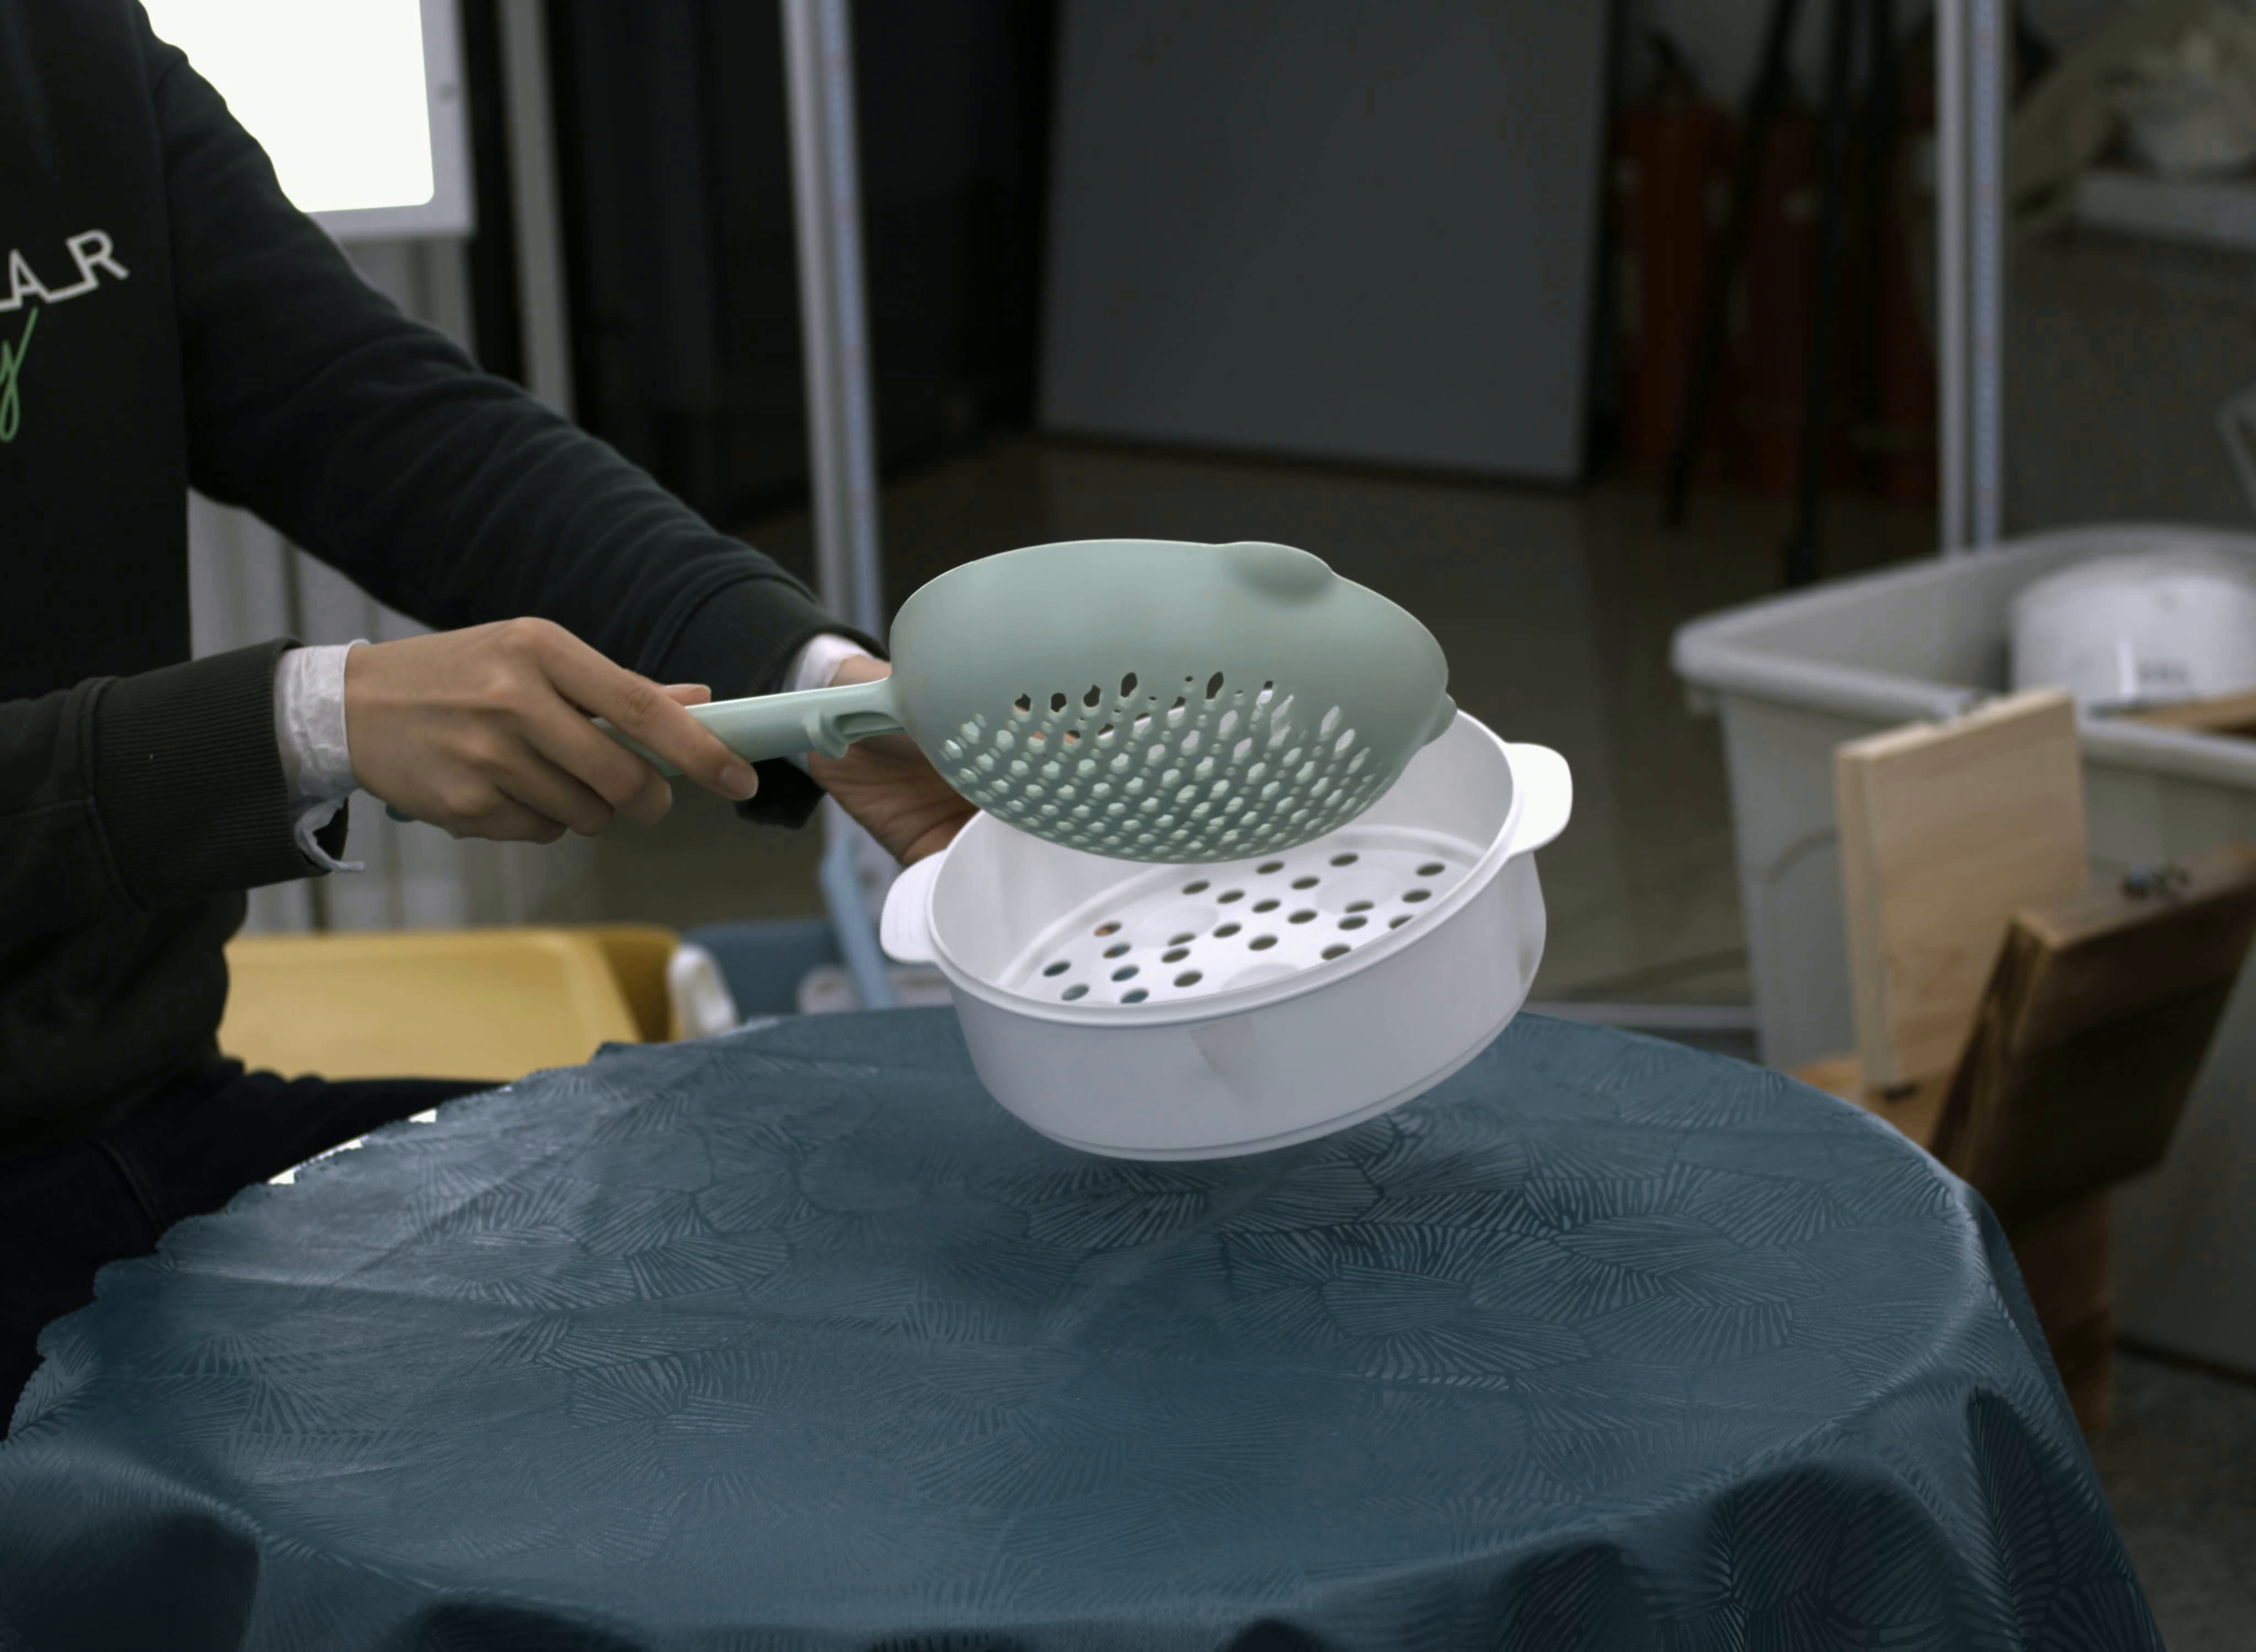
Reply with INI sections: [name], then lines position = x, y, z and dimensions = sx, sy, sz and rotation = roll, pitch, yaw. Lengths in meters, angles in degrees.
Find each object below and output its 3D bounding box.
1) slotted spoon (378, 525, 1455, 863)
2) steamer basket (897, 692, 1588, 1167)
[slotted spoon]
position = -0.076, -0.031, 1.665
dimensions = 0.360, 0.076, 0.167
rotation = 2, -23, 29
[steamer basket]
position = 0.043, 0.032, 1.737
dimensions = 0.229, 0.069, 0.202
rotation = -13, 27, 10
